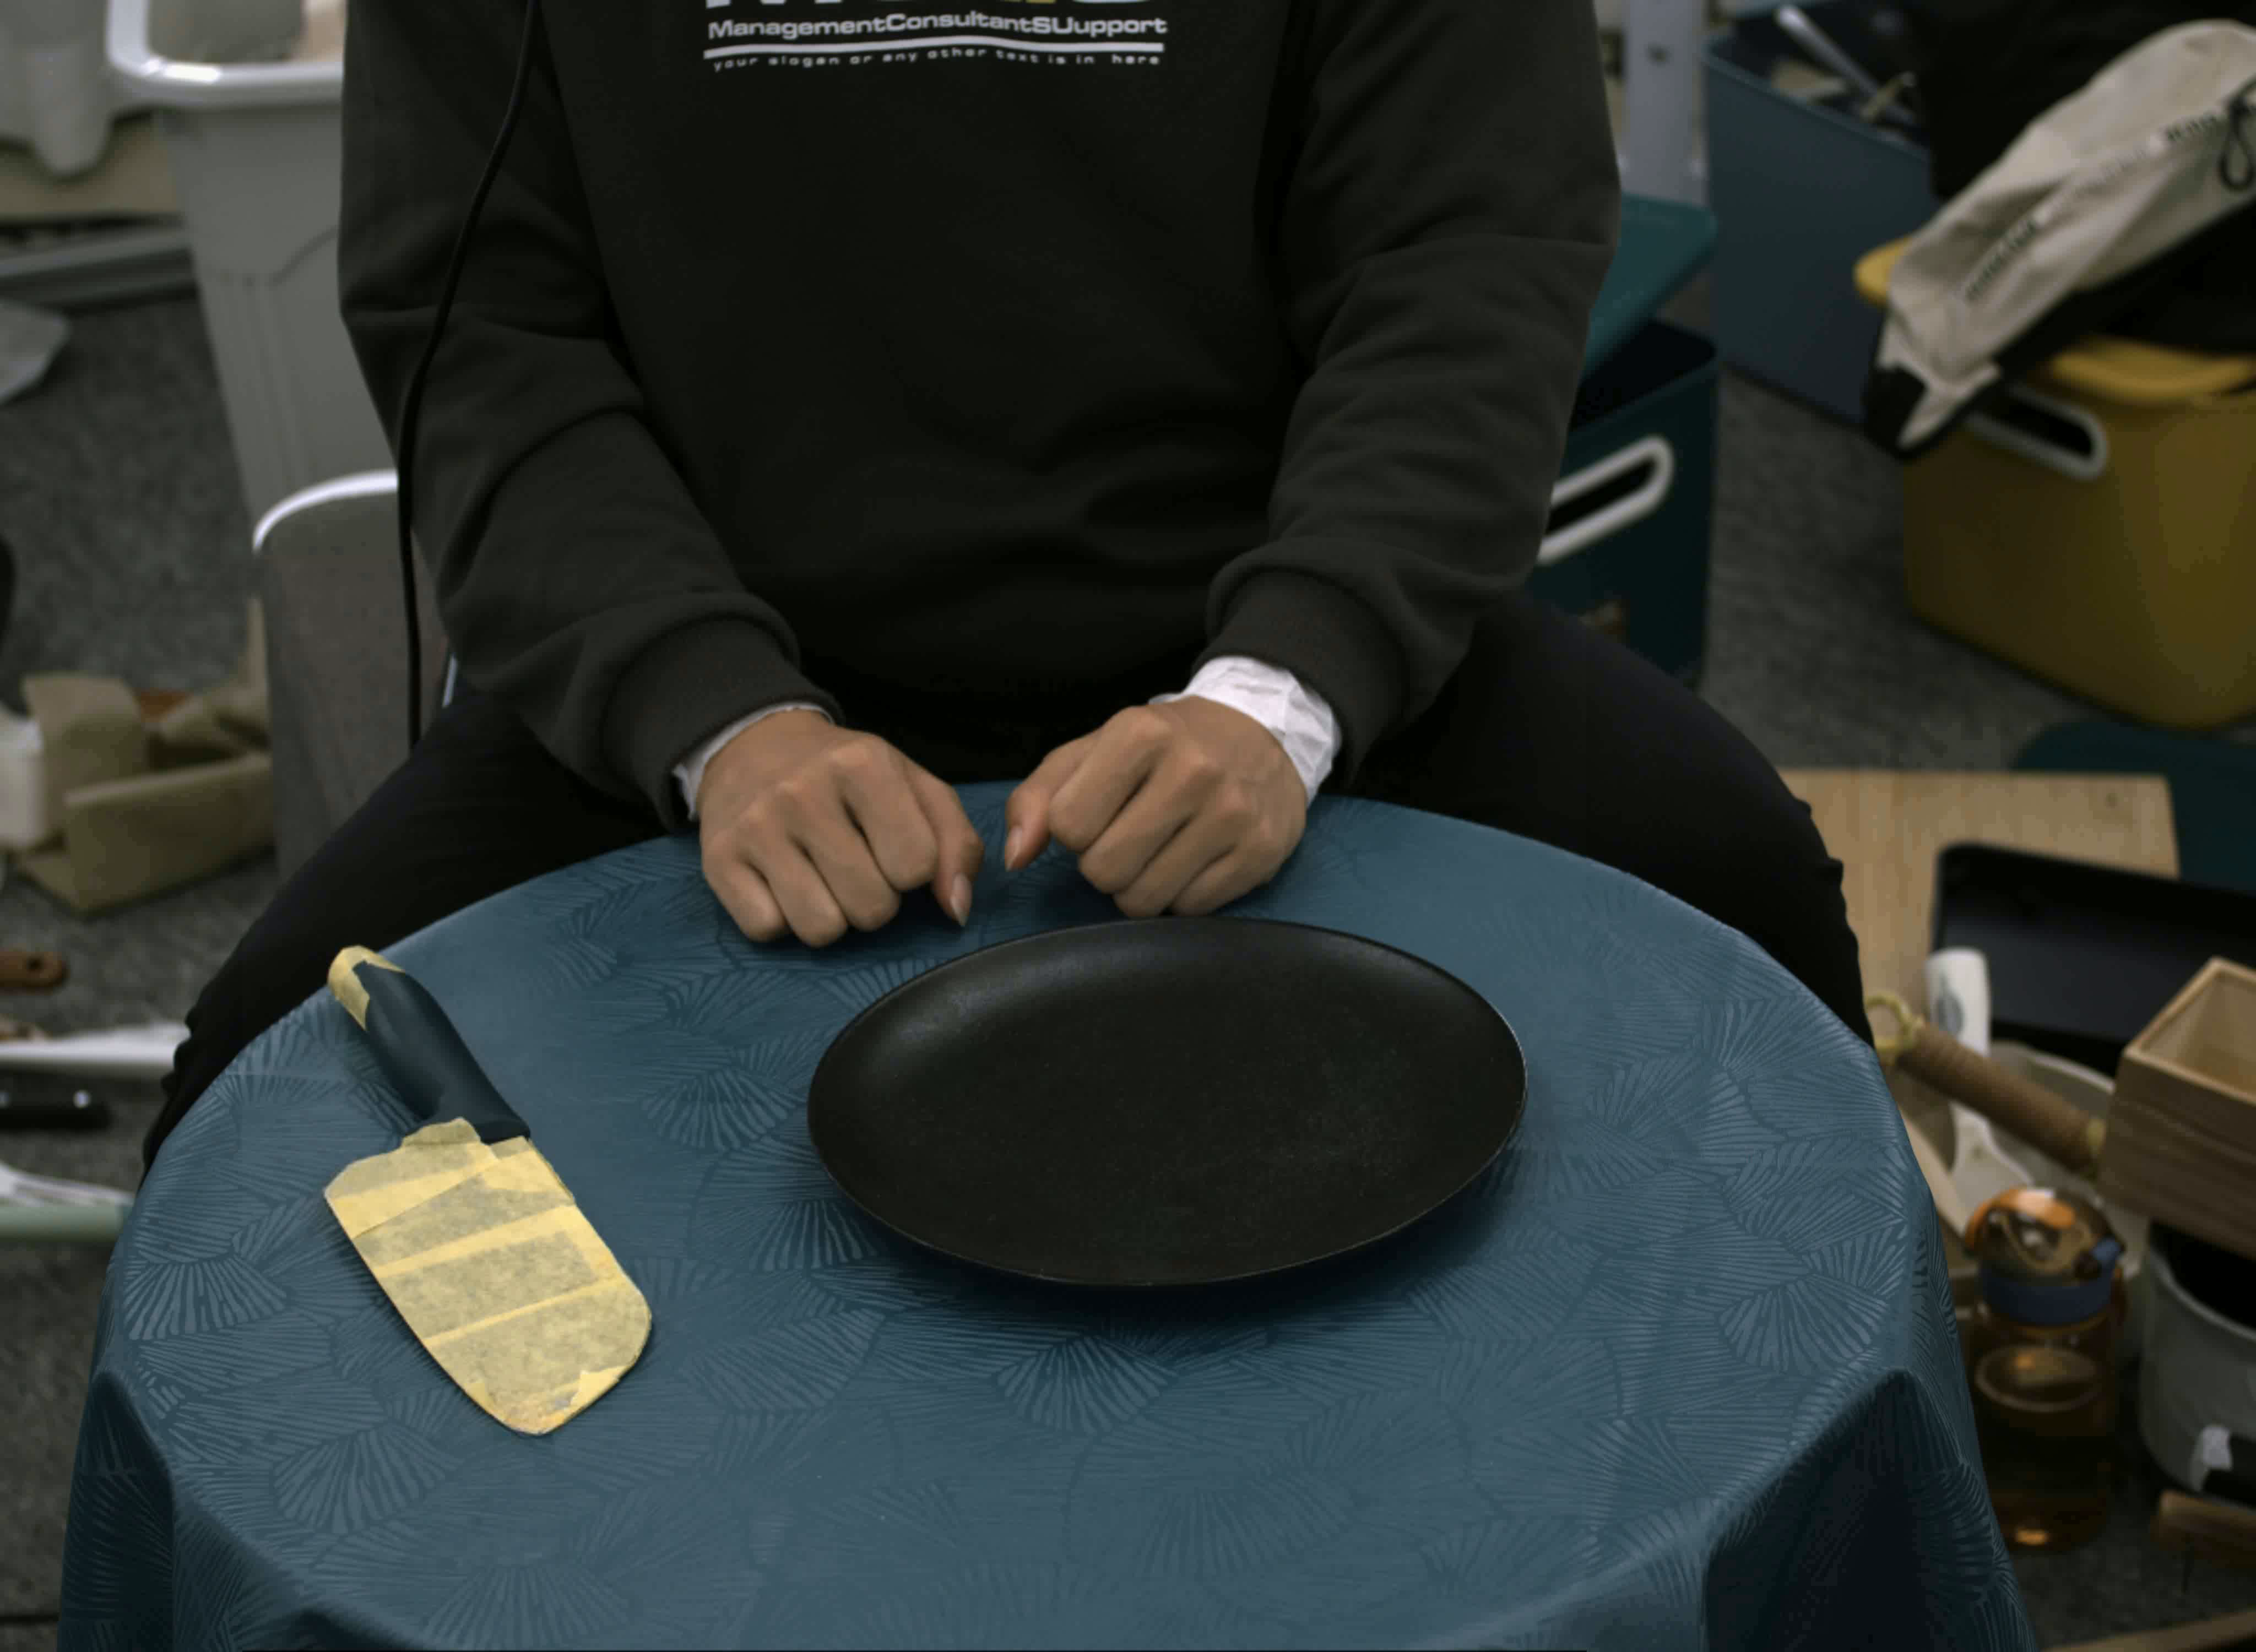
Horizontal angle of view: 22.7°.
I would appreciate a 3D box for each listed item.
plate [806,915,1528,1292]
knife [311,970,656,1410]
[{"bbox_3d":[0.013,0.097,1.883,0.243,0.023,0.248,-2,27,1],"label":"plate"},{"bbox_3d":[-0.229,0.121,1.868,0.081,0.027,0.291,-12,29,-20],"label":"knife"}]
